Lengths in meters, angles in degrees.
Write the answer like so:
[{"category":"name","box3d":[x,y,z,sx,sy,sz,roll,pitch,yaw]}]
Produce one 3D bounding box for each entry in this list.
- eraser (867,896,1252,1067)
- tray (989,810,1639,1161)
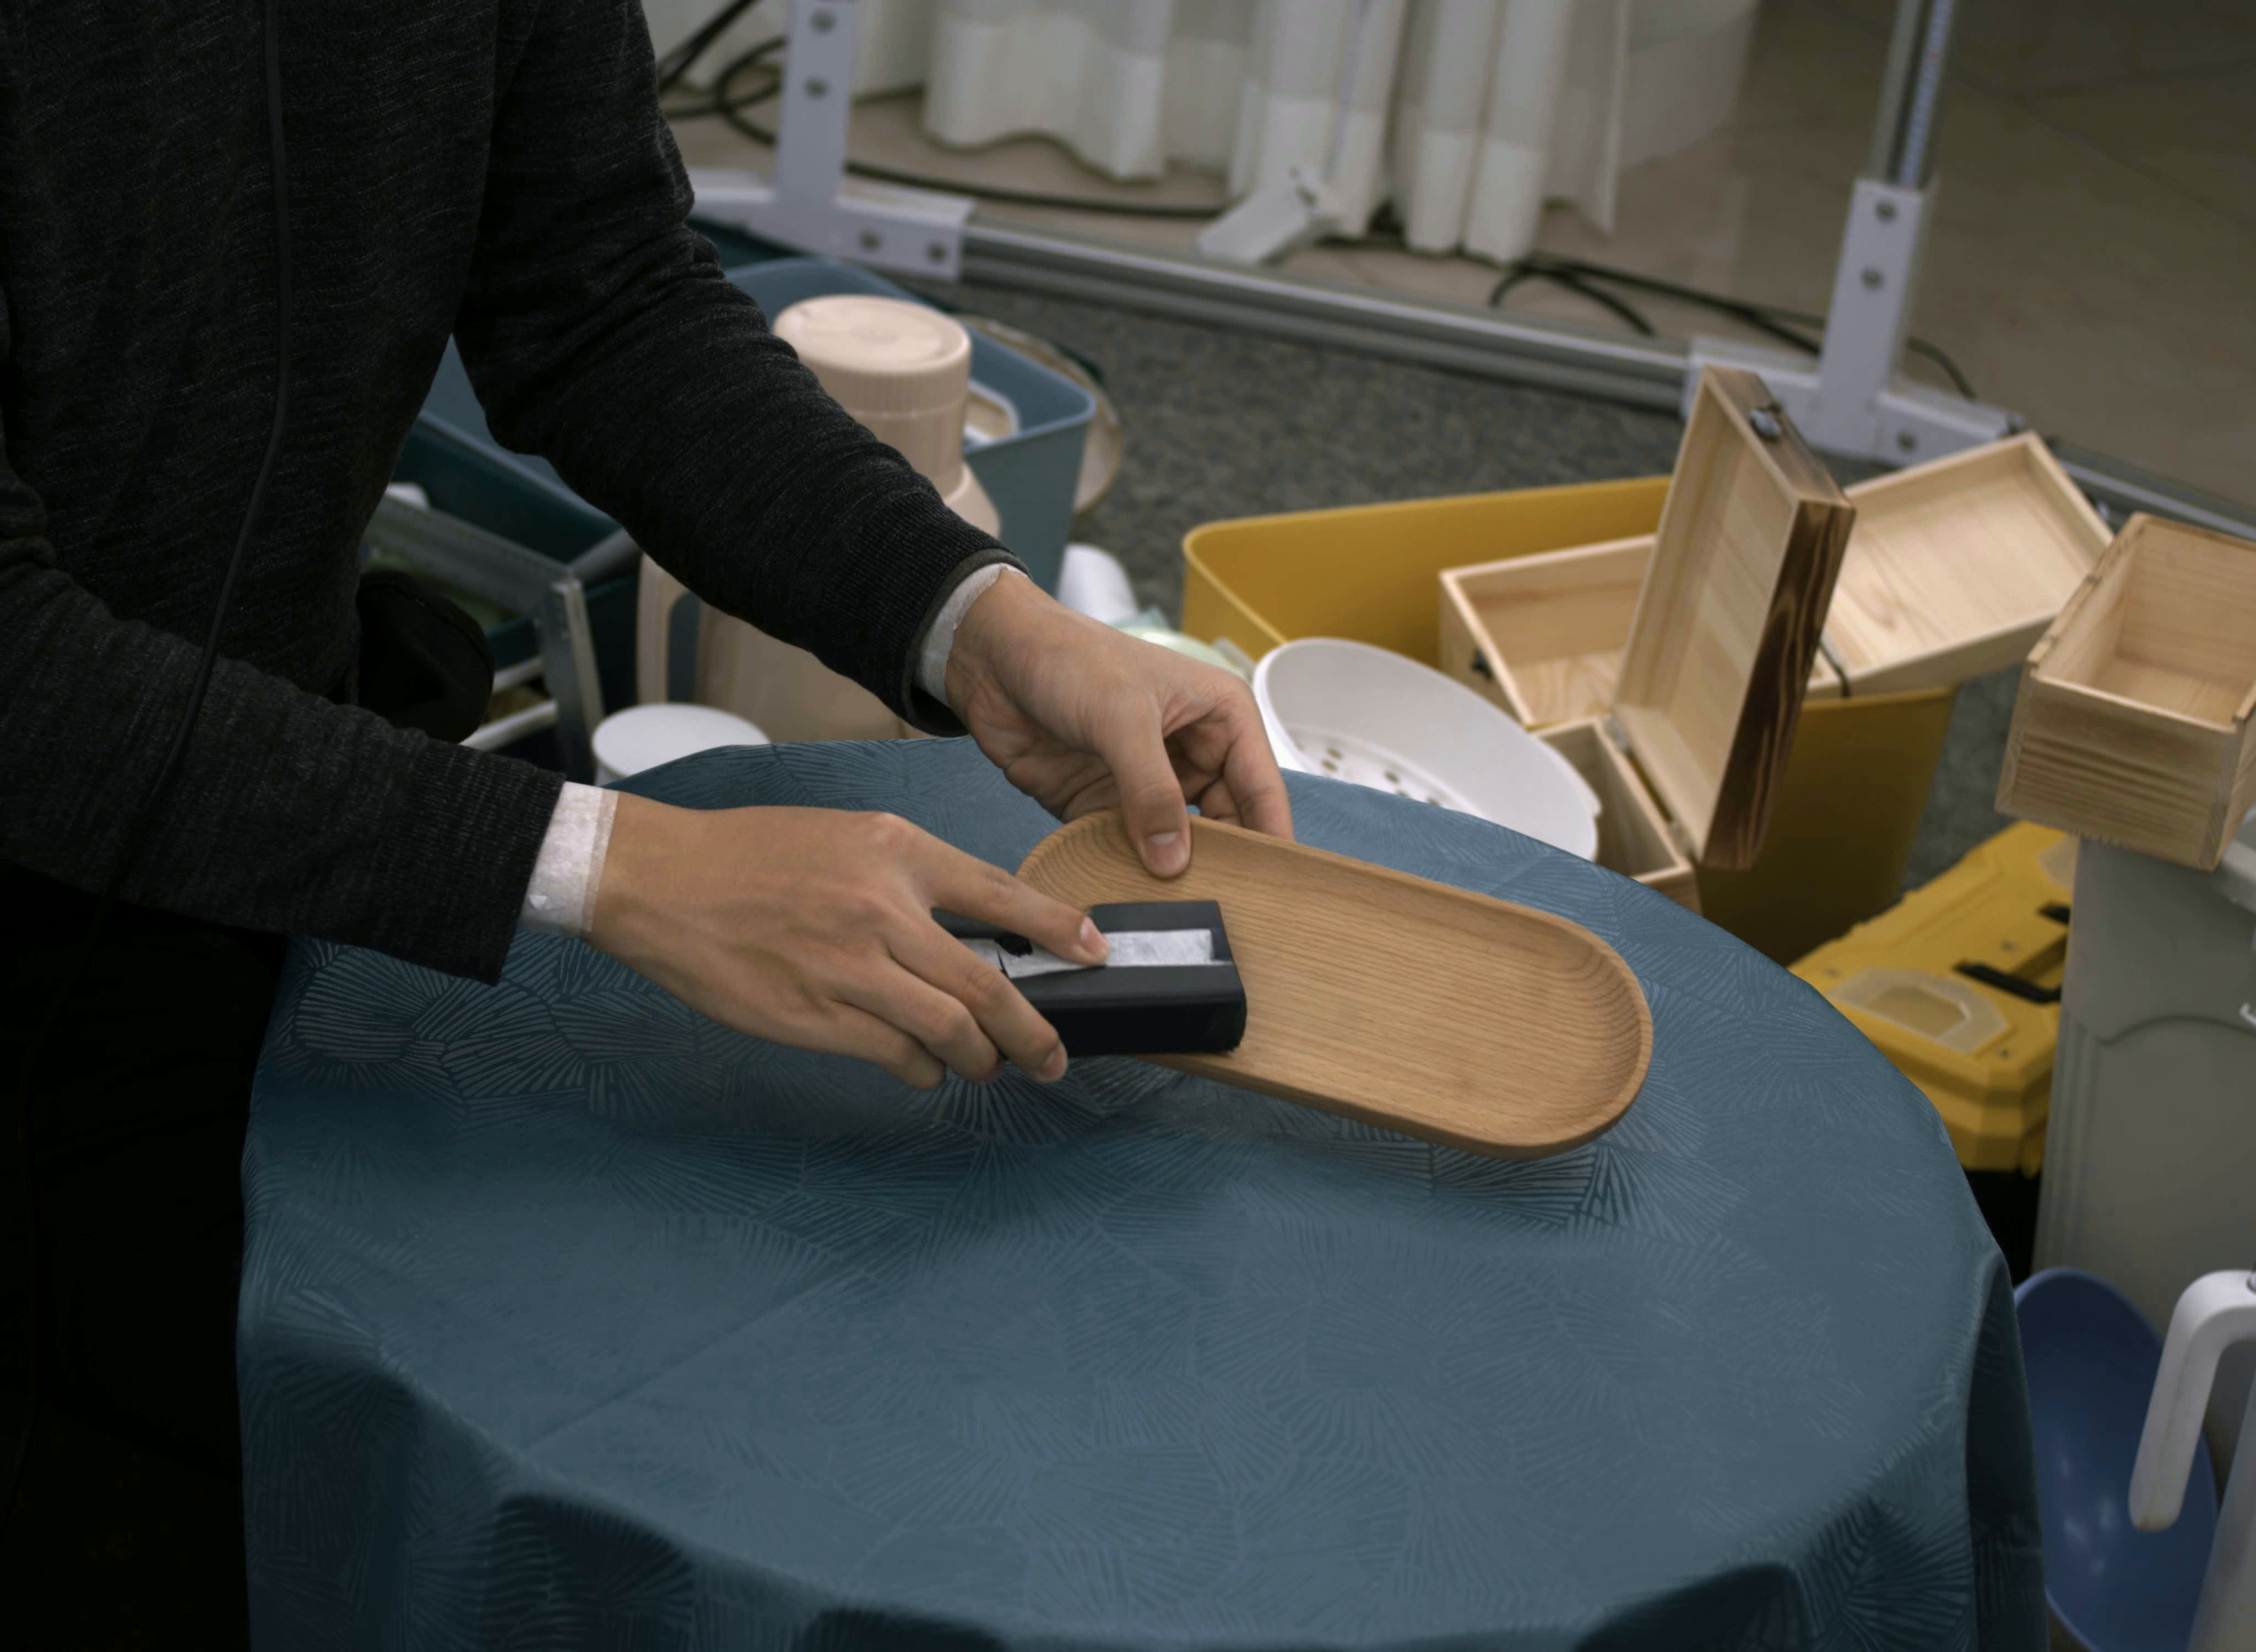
[{"category":"eraser","box3d":[-0.024,0.052,1.818,0.125,0.030,0.054,-3,43,-15]},{"category":"tray","box3d":[0.064,0.056,1.850,0.231,0.020,0.102,14,52,8]}]
